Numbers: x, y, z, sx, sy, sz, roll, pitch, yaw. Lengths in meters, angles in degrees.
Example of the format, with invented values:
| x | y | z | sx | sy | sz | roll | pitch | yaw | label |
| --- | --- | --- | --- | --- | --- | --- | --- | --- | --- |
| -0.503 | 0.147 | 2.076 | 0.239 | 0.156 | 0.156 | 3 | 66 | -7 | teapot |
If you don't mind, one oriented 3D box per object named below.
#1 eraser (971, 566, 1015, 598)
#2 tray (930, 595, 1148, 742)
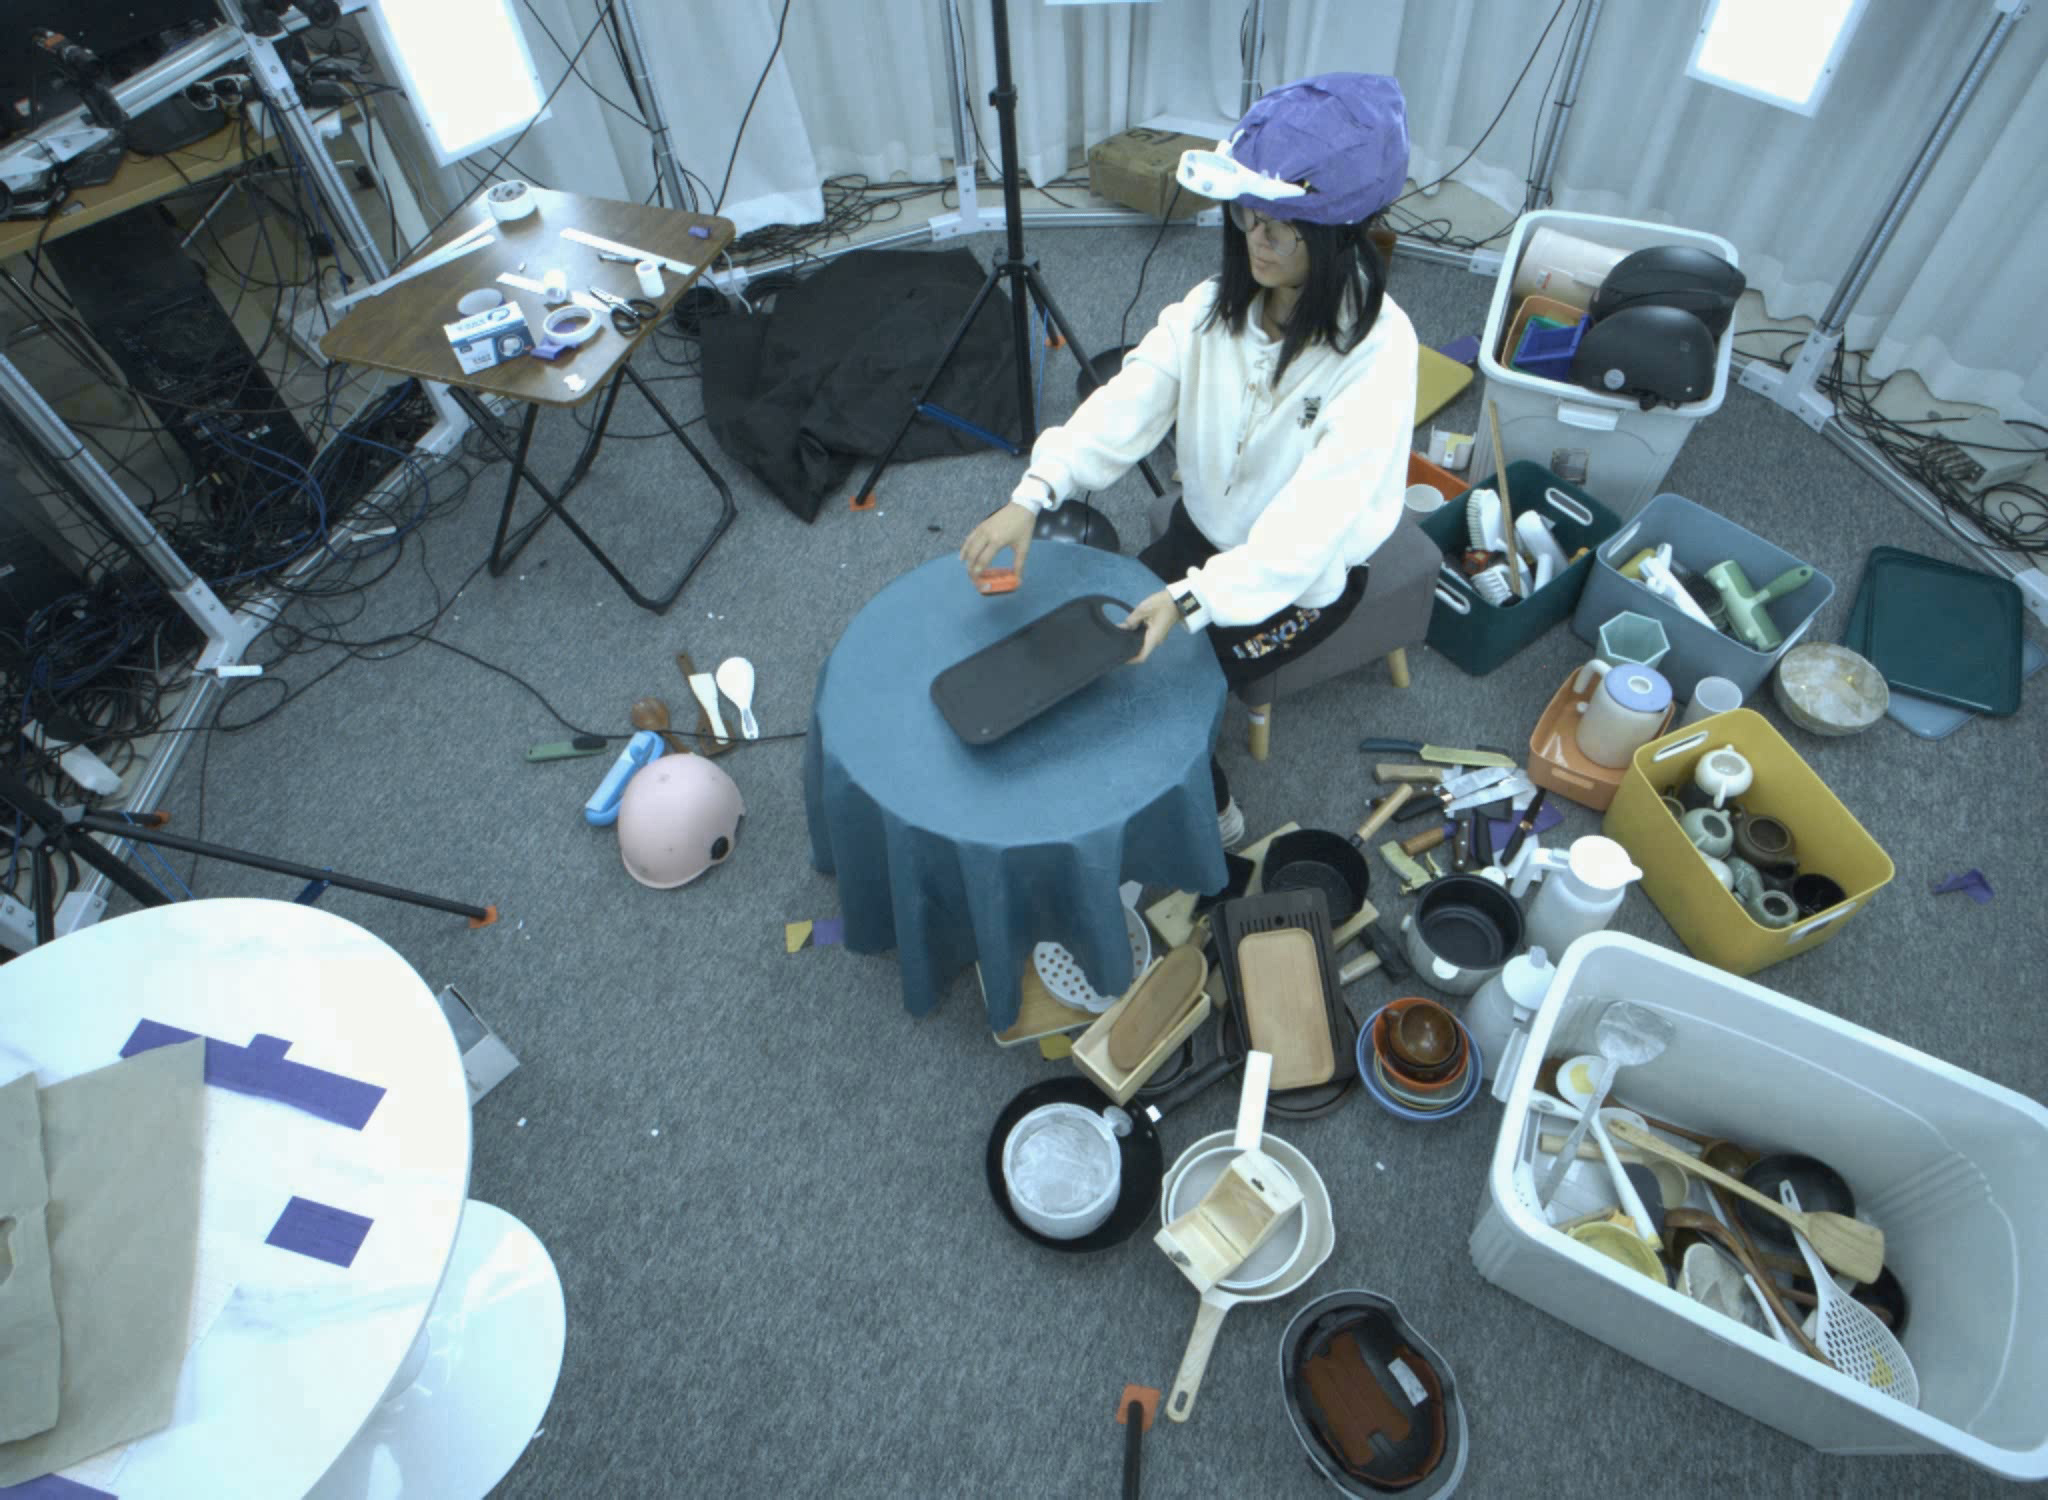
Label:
| x | y | z | sx | sy | sz | roll | pitch | yaw | label |
| --- | --- | --- | --- | --- | --- | --- | --- | --- | --- |
| -0.049 | -0.258 | 1.880 | 0.059 | 0.023 | 0.106 | -8 | 21 | -7 | eraser |
| 0.024 | -0.131 | 1.817 | 0.327 | 0.010 | 0.206 | -30 | 40 | -8 | tray |
